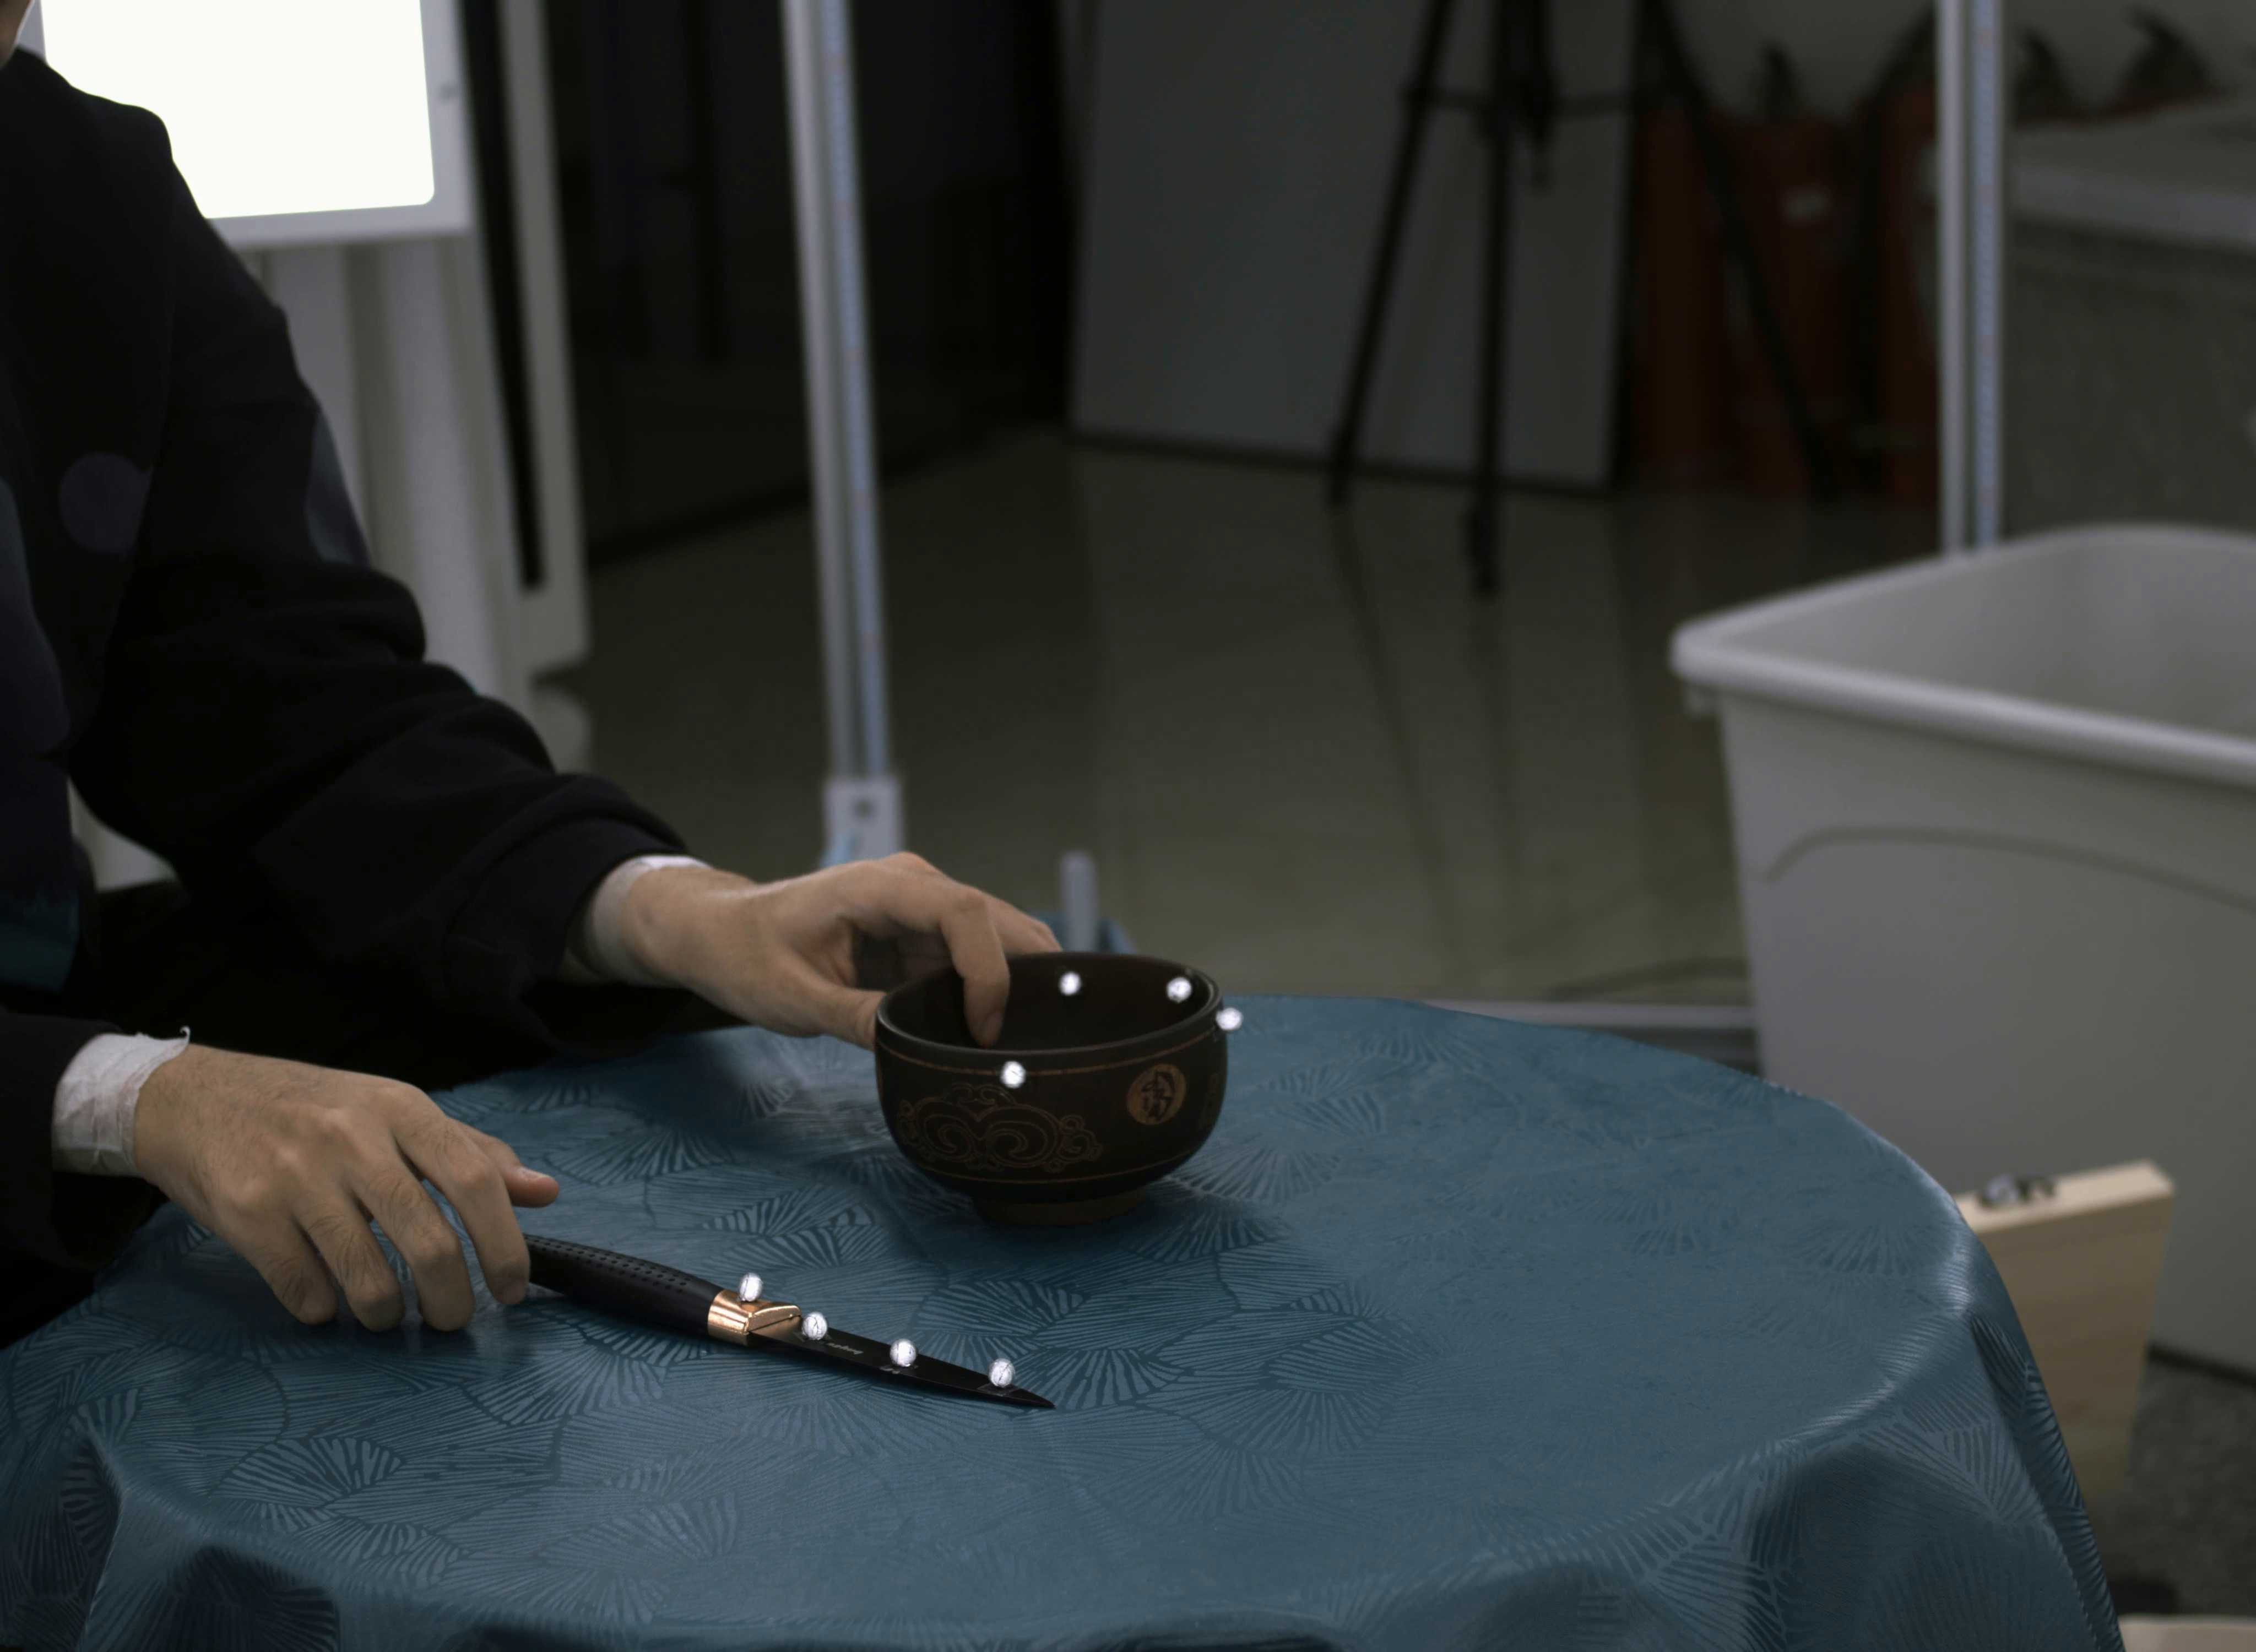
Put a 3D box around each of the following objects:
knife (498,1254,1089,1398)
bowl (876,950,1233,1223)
[{"bbox_3d":[-0.105,0.154,1.646,0.227,0.017,0.026,8,10,37],"label":"knife"},{"bbox_3d":[-0.022,0.088,1.755,0.116,0.070,0.118,-5,12,0],"label":"bowl"}]
